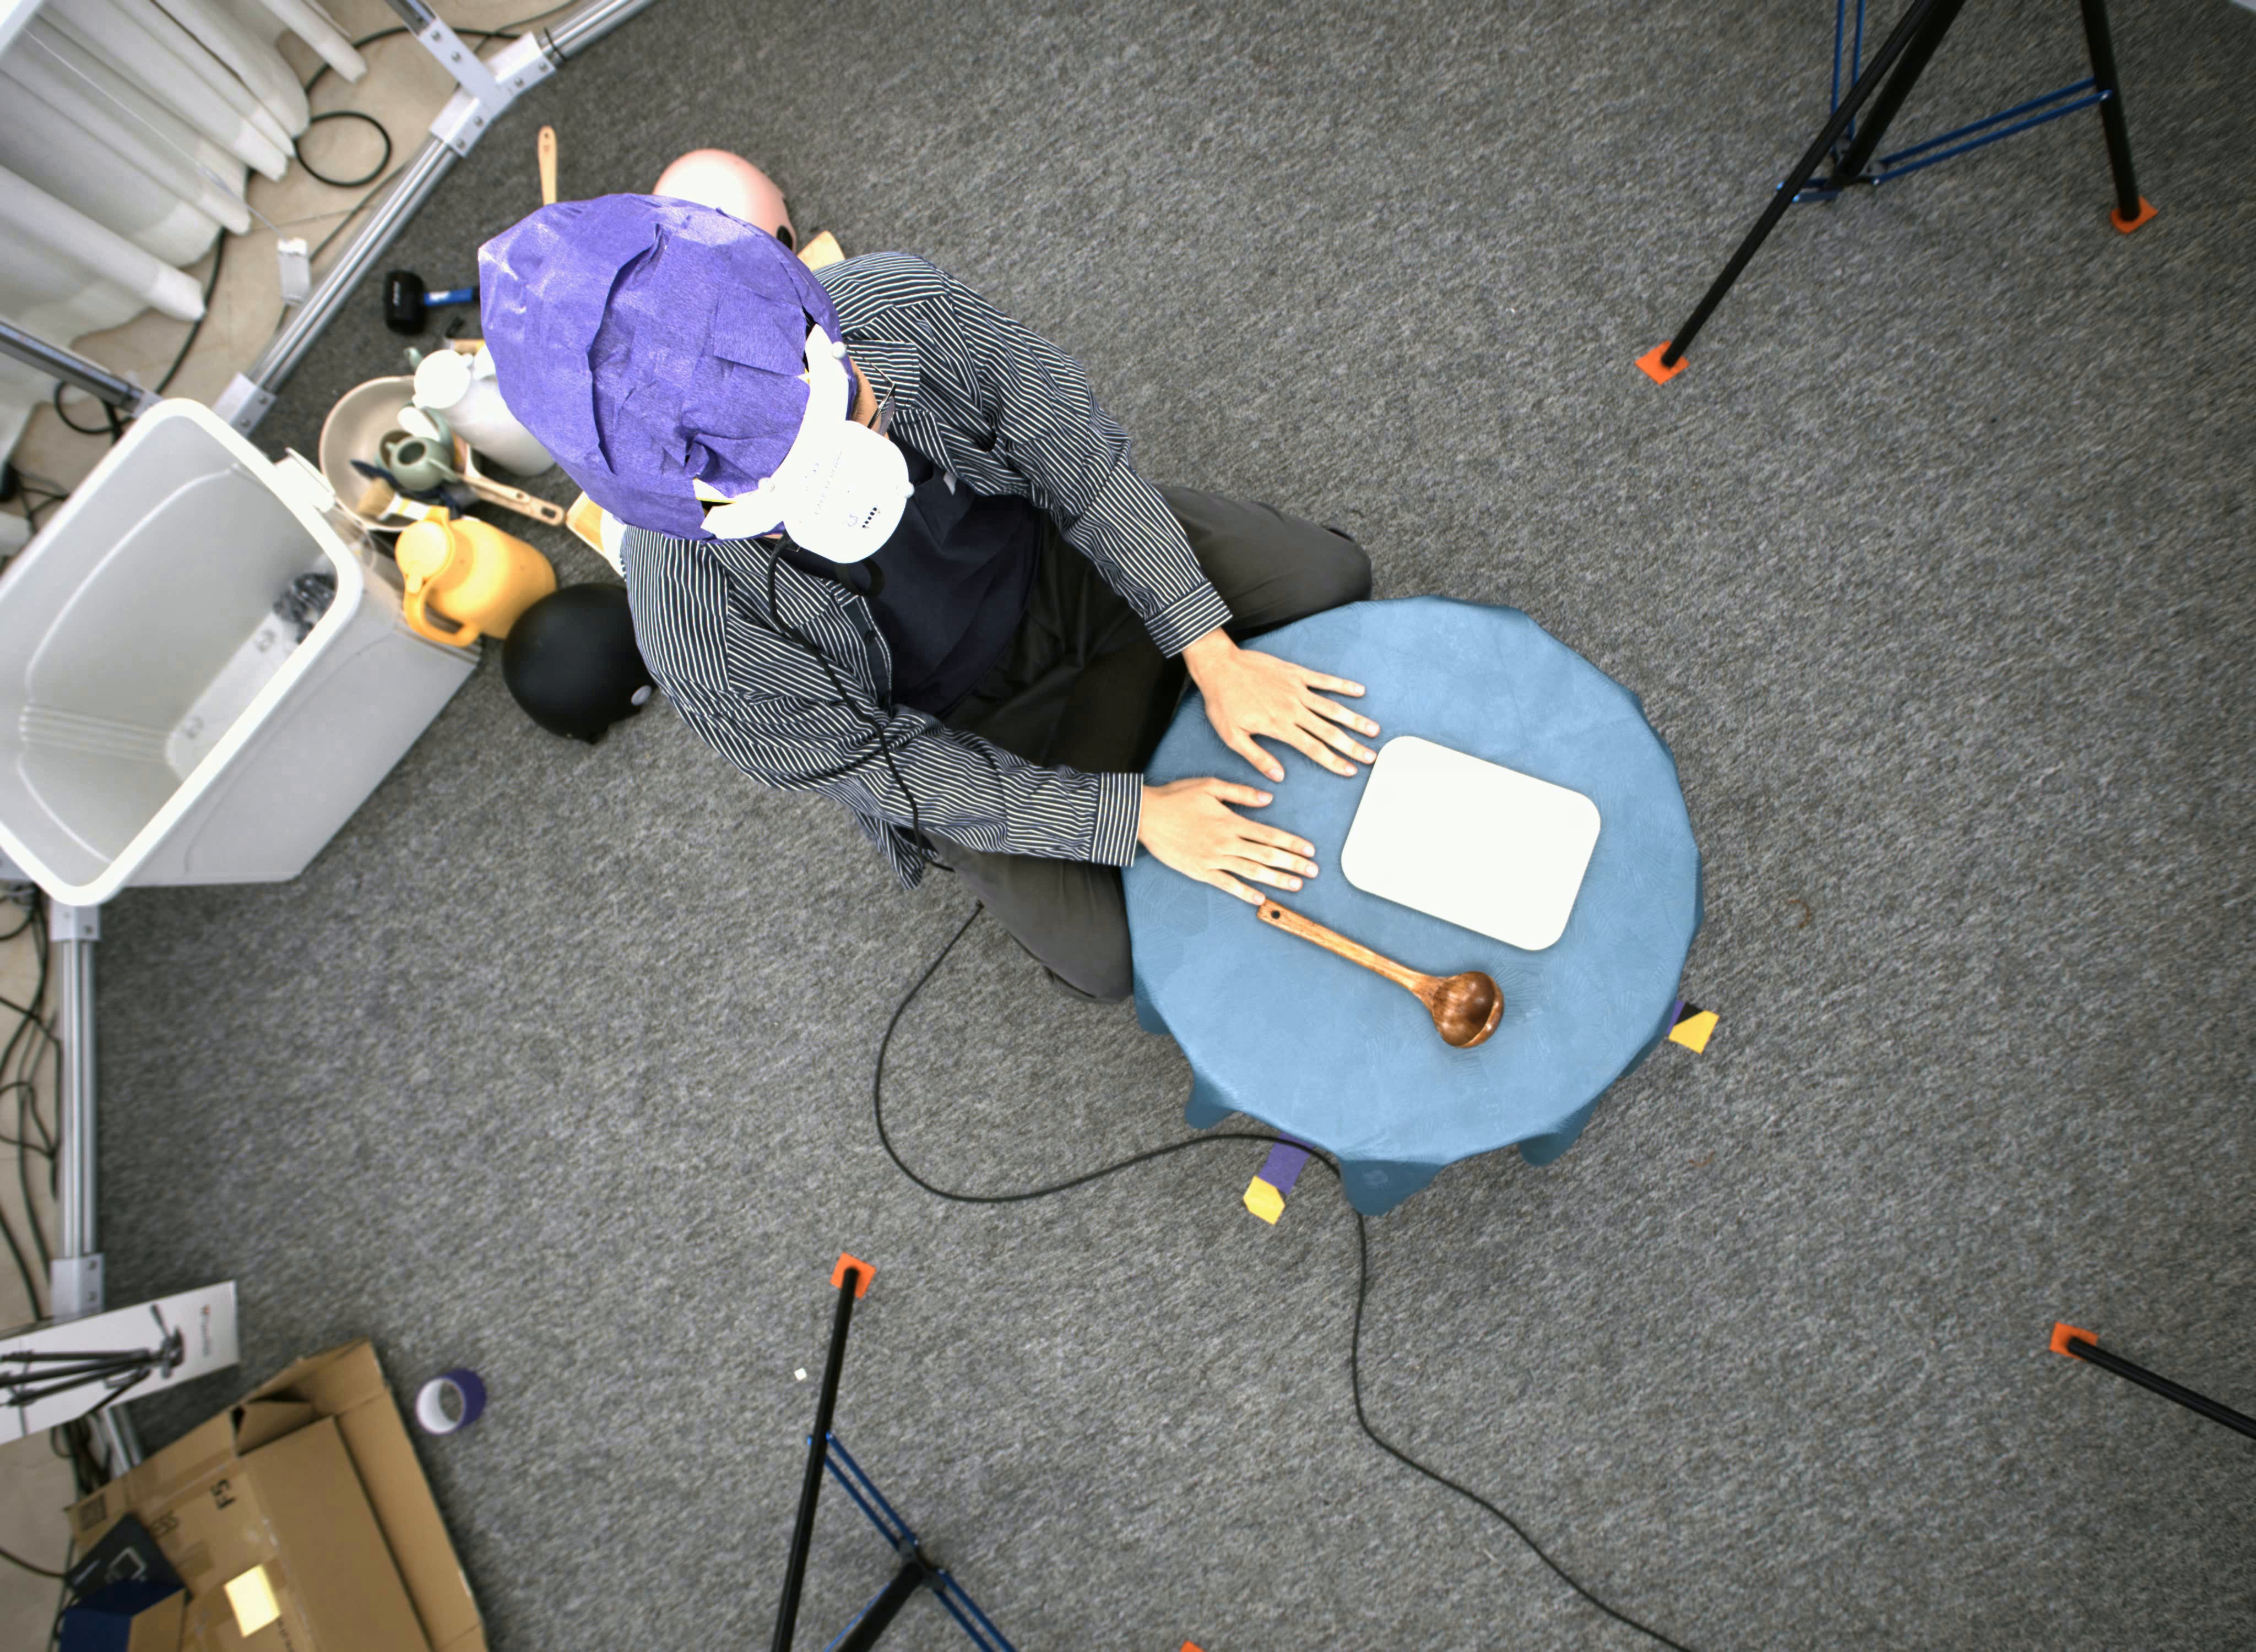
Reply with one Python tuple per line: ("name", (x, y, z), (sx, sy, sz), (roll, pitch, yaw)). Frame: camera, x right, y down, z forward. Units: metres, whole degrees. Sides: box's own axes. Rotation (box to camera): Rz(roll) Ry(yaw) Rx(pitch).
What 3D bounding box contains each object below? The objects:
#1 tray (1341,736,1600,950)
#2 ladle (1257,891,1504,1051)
("tray", (0.353, 0.015, 1.427), (0.240, 0.017, 0.171), (20, 91, 10))
("ladle", (0.252, 0.139, 1.410), (0.273, 0.077, 0.082), (28, 88, 10))
